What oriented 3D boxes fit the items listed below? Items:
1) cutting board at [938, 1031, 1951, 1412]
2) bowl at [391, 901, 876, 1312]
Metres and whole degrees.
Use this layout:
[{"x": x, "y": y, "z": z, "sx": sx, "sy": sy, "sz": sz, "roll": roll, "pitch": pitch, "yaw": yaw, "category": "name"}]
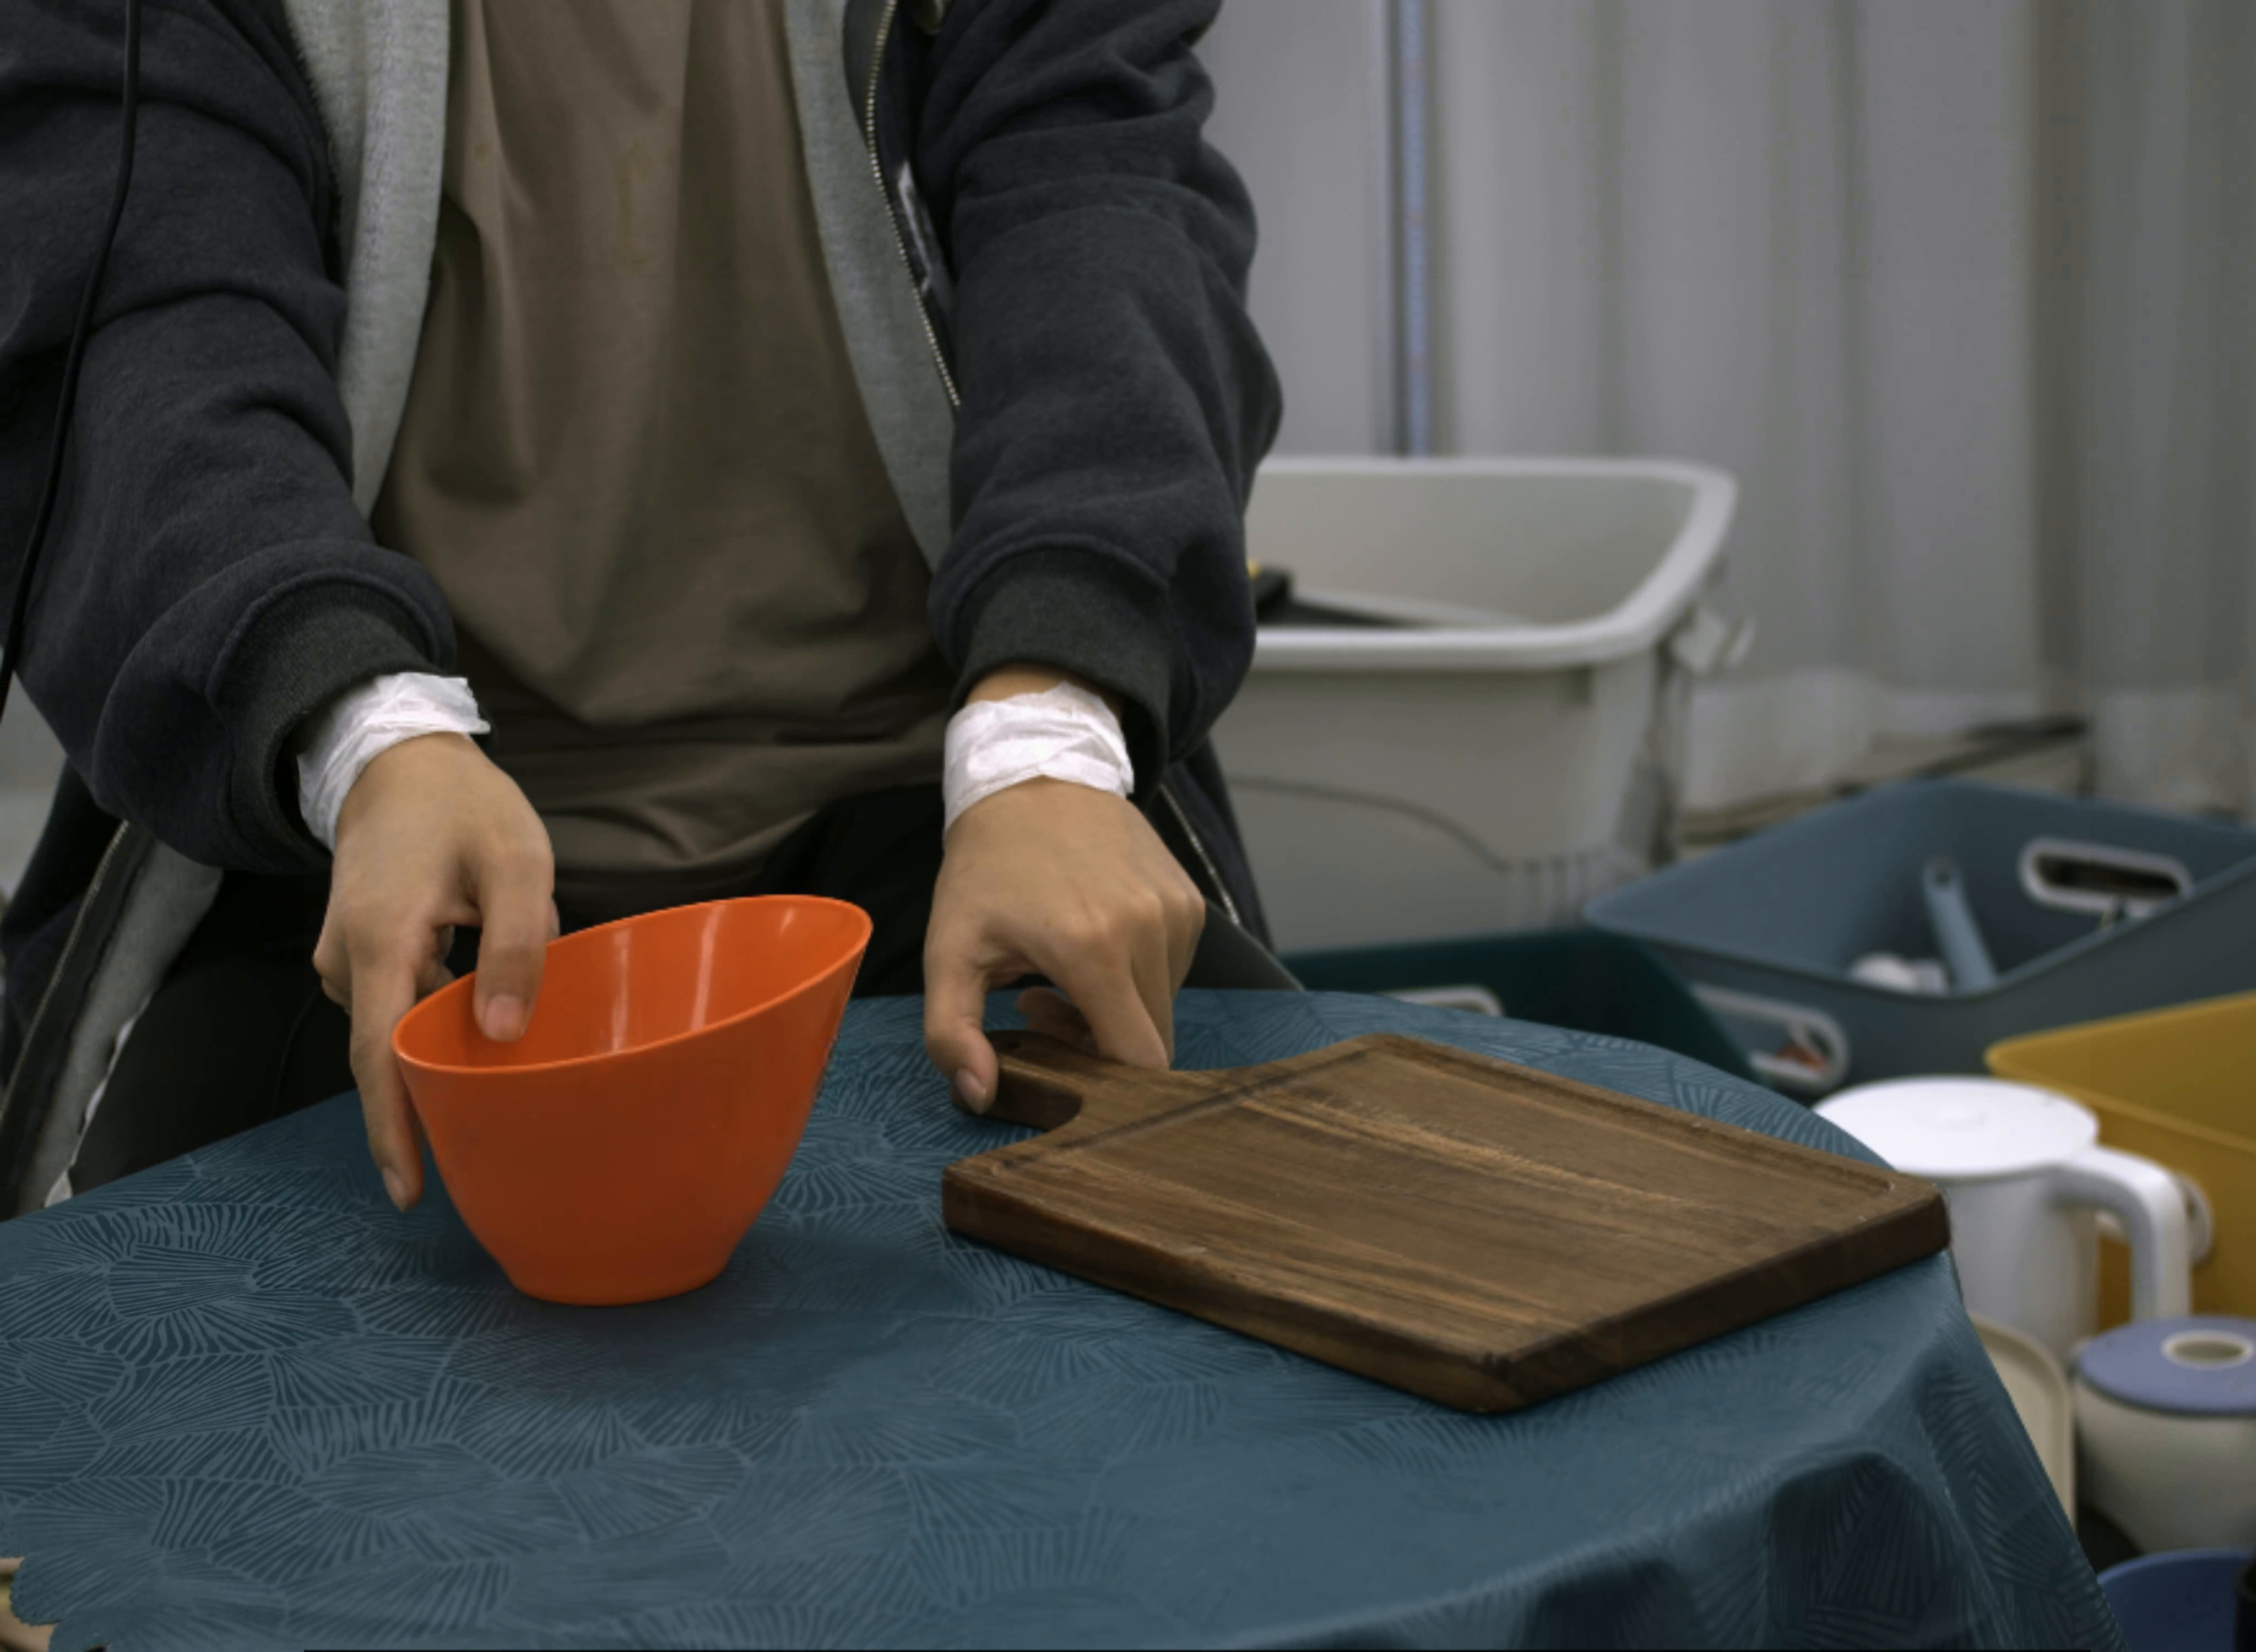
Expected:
[{"x": 0.061, "y": 0.107, "z": 1.693, "sx": 0.200, "sy": 0.023, "sz": 0.354, "roll": -15, "pitch": 19, "yaw": -38, "category": "cutting board"}, {"x": -0.147, "y": 0.087, "z": 1.655, "sx": 0.147, "sy": 0.104, "sz": 0.149, "roll": -3, "pitch": 15, "yaw": 0, "category": "bowl"}]
